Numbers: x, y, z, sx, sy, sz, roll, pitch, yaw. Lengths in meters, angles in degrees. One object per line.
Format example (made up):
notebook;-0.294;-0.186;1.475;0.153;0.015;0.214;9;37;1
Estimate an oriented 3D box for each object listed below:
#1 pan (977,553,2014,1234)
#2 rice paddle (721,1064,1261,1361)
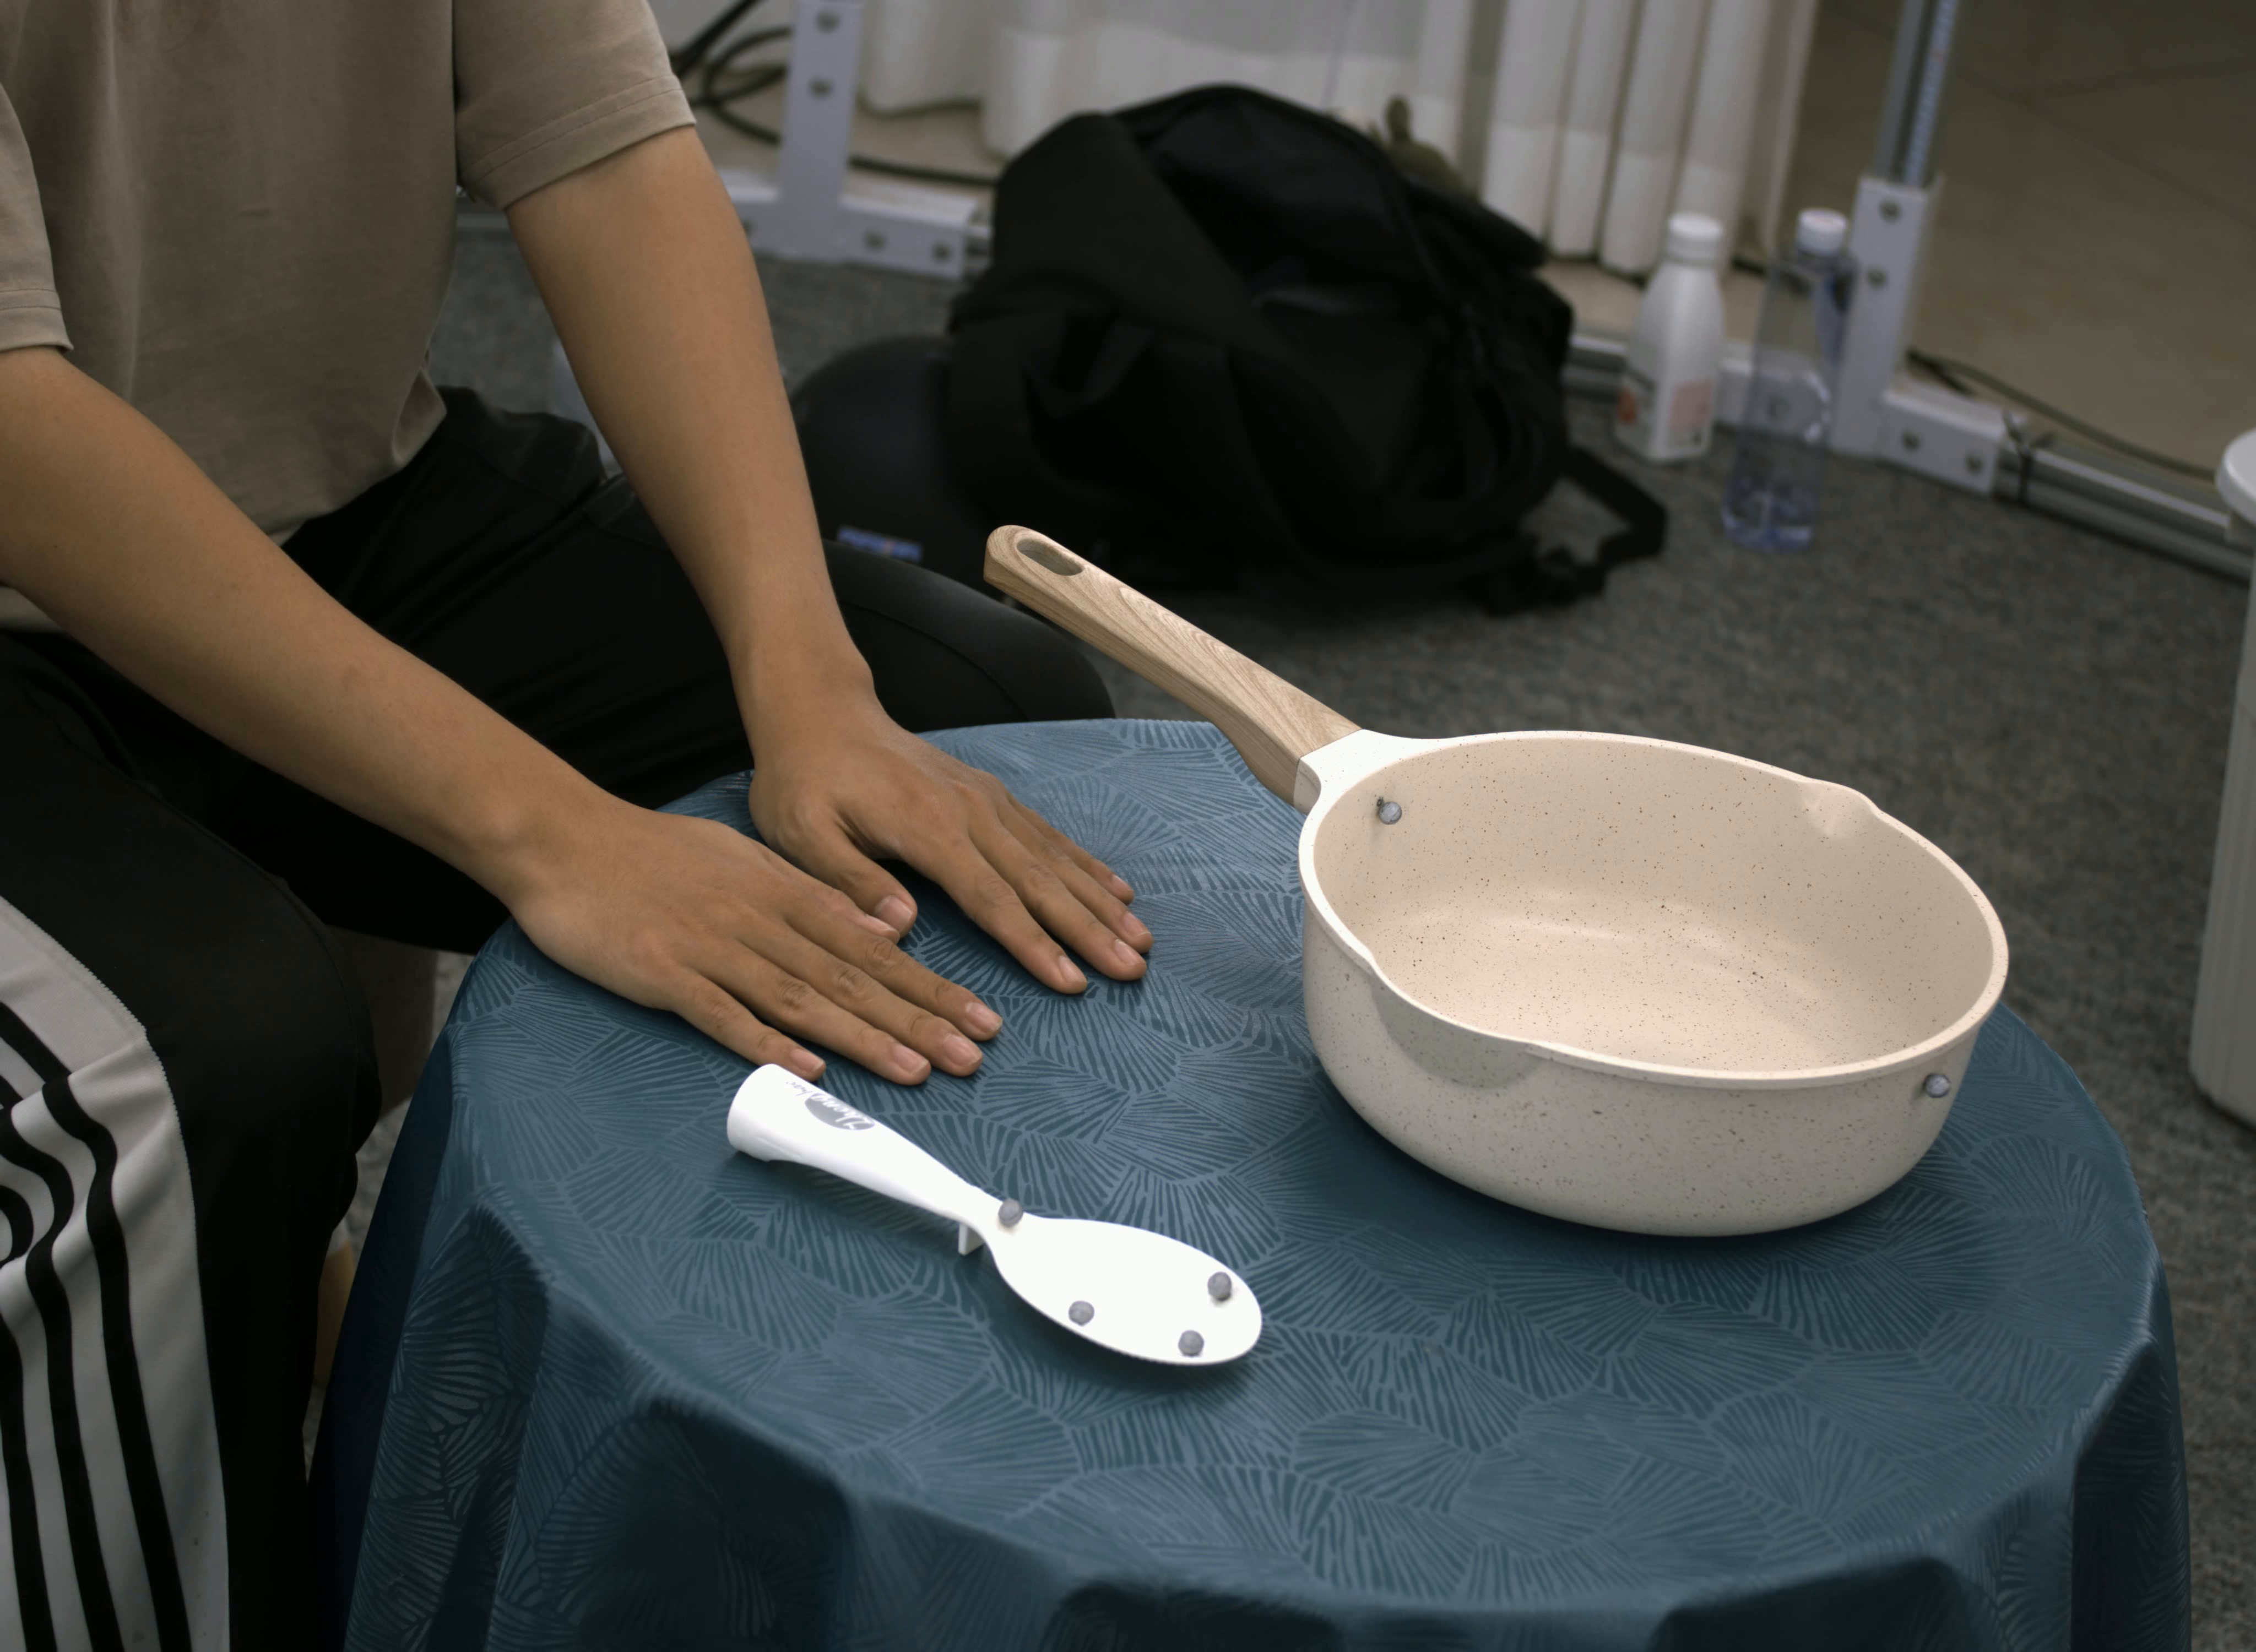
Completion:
pan;0.113;0.018;1.935;0.438;0.101;0.262;25;34;32
rice paddle;-0.045;0.129;1.750;0.206;0.029;0.068;23;33;28
